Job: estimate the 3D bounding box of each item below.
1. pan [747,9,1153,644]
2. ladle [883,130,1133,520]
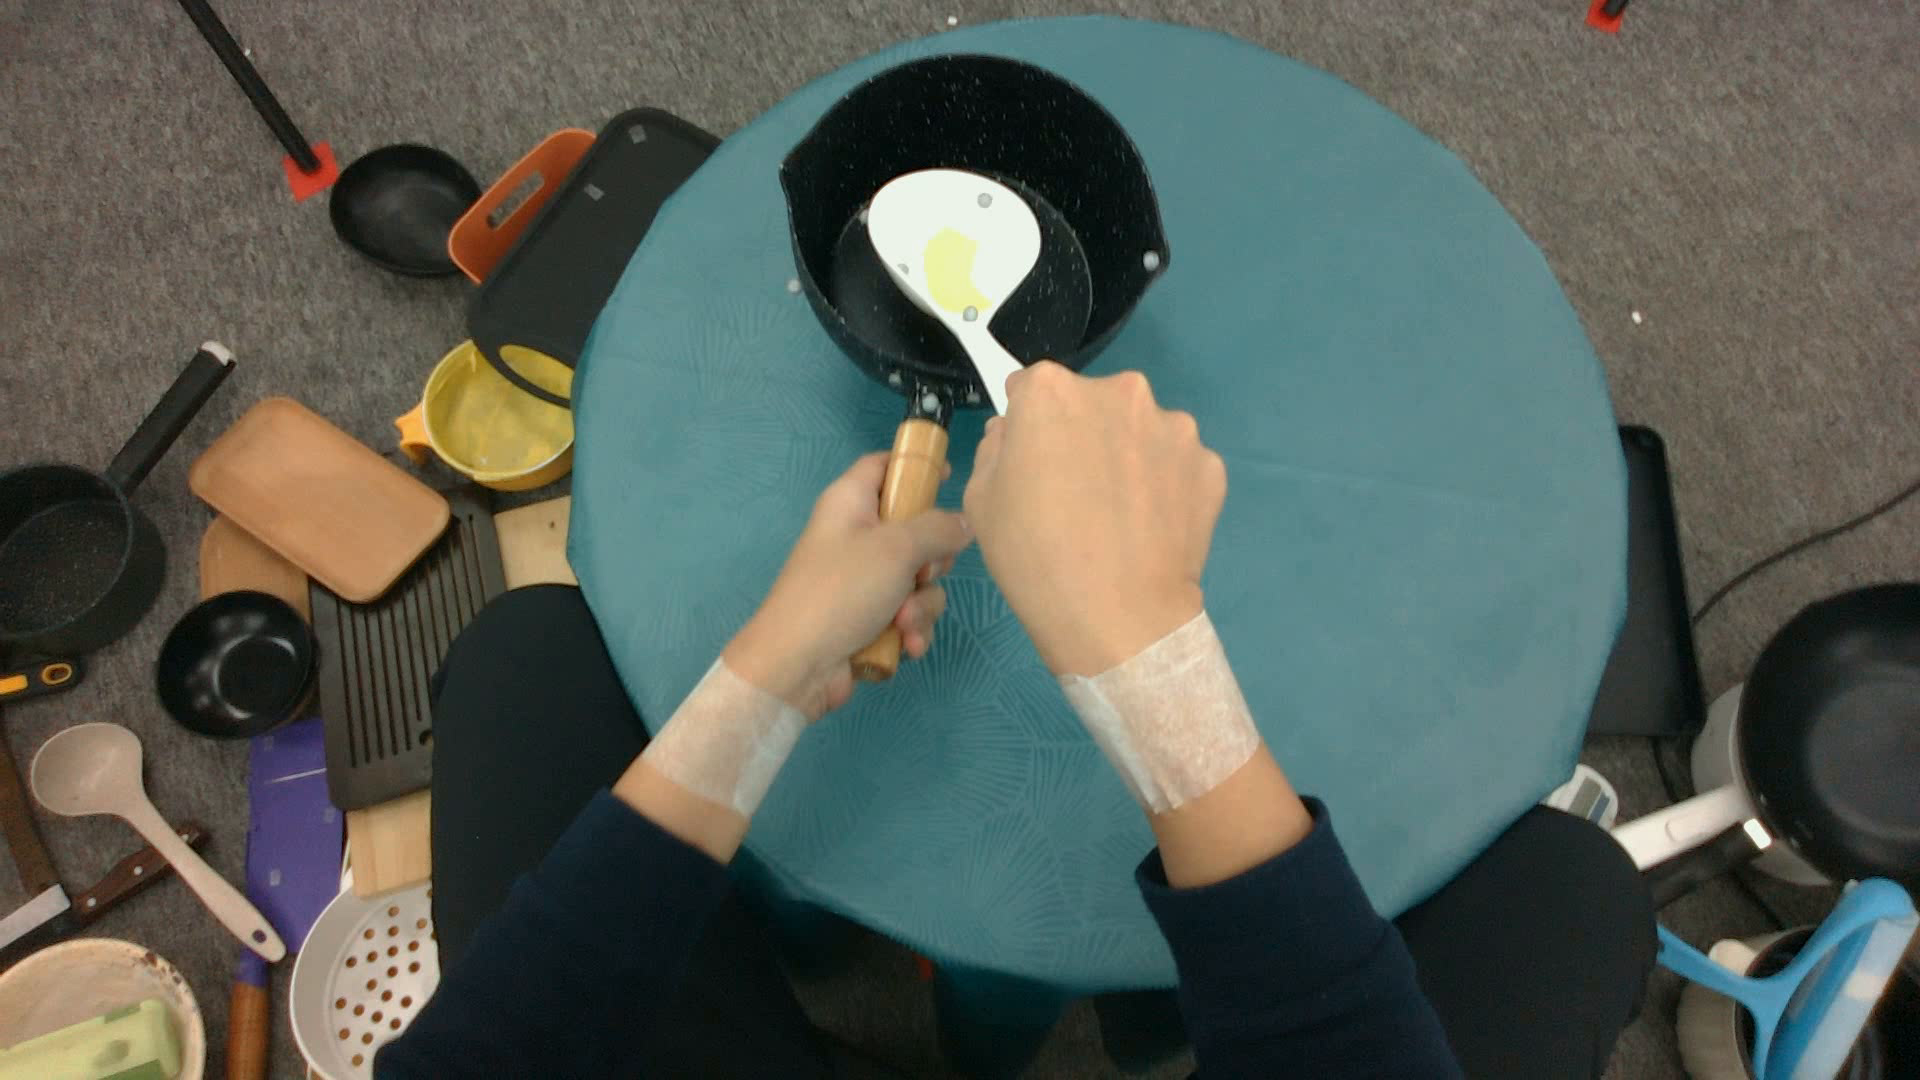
[{"bbox_3d":[-0.018,-0.102,0.689,0.207,0.108,0.344,10,71,-2],"label":"pan"},{"bbox_3d":[0.024,-0.109,0.613,0.090,0.069,0.294,8,27,-17],"label":"ladle"}]
